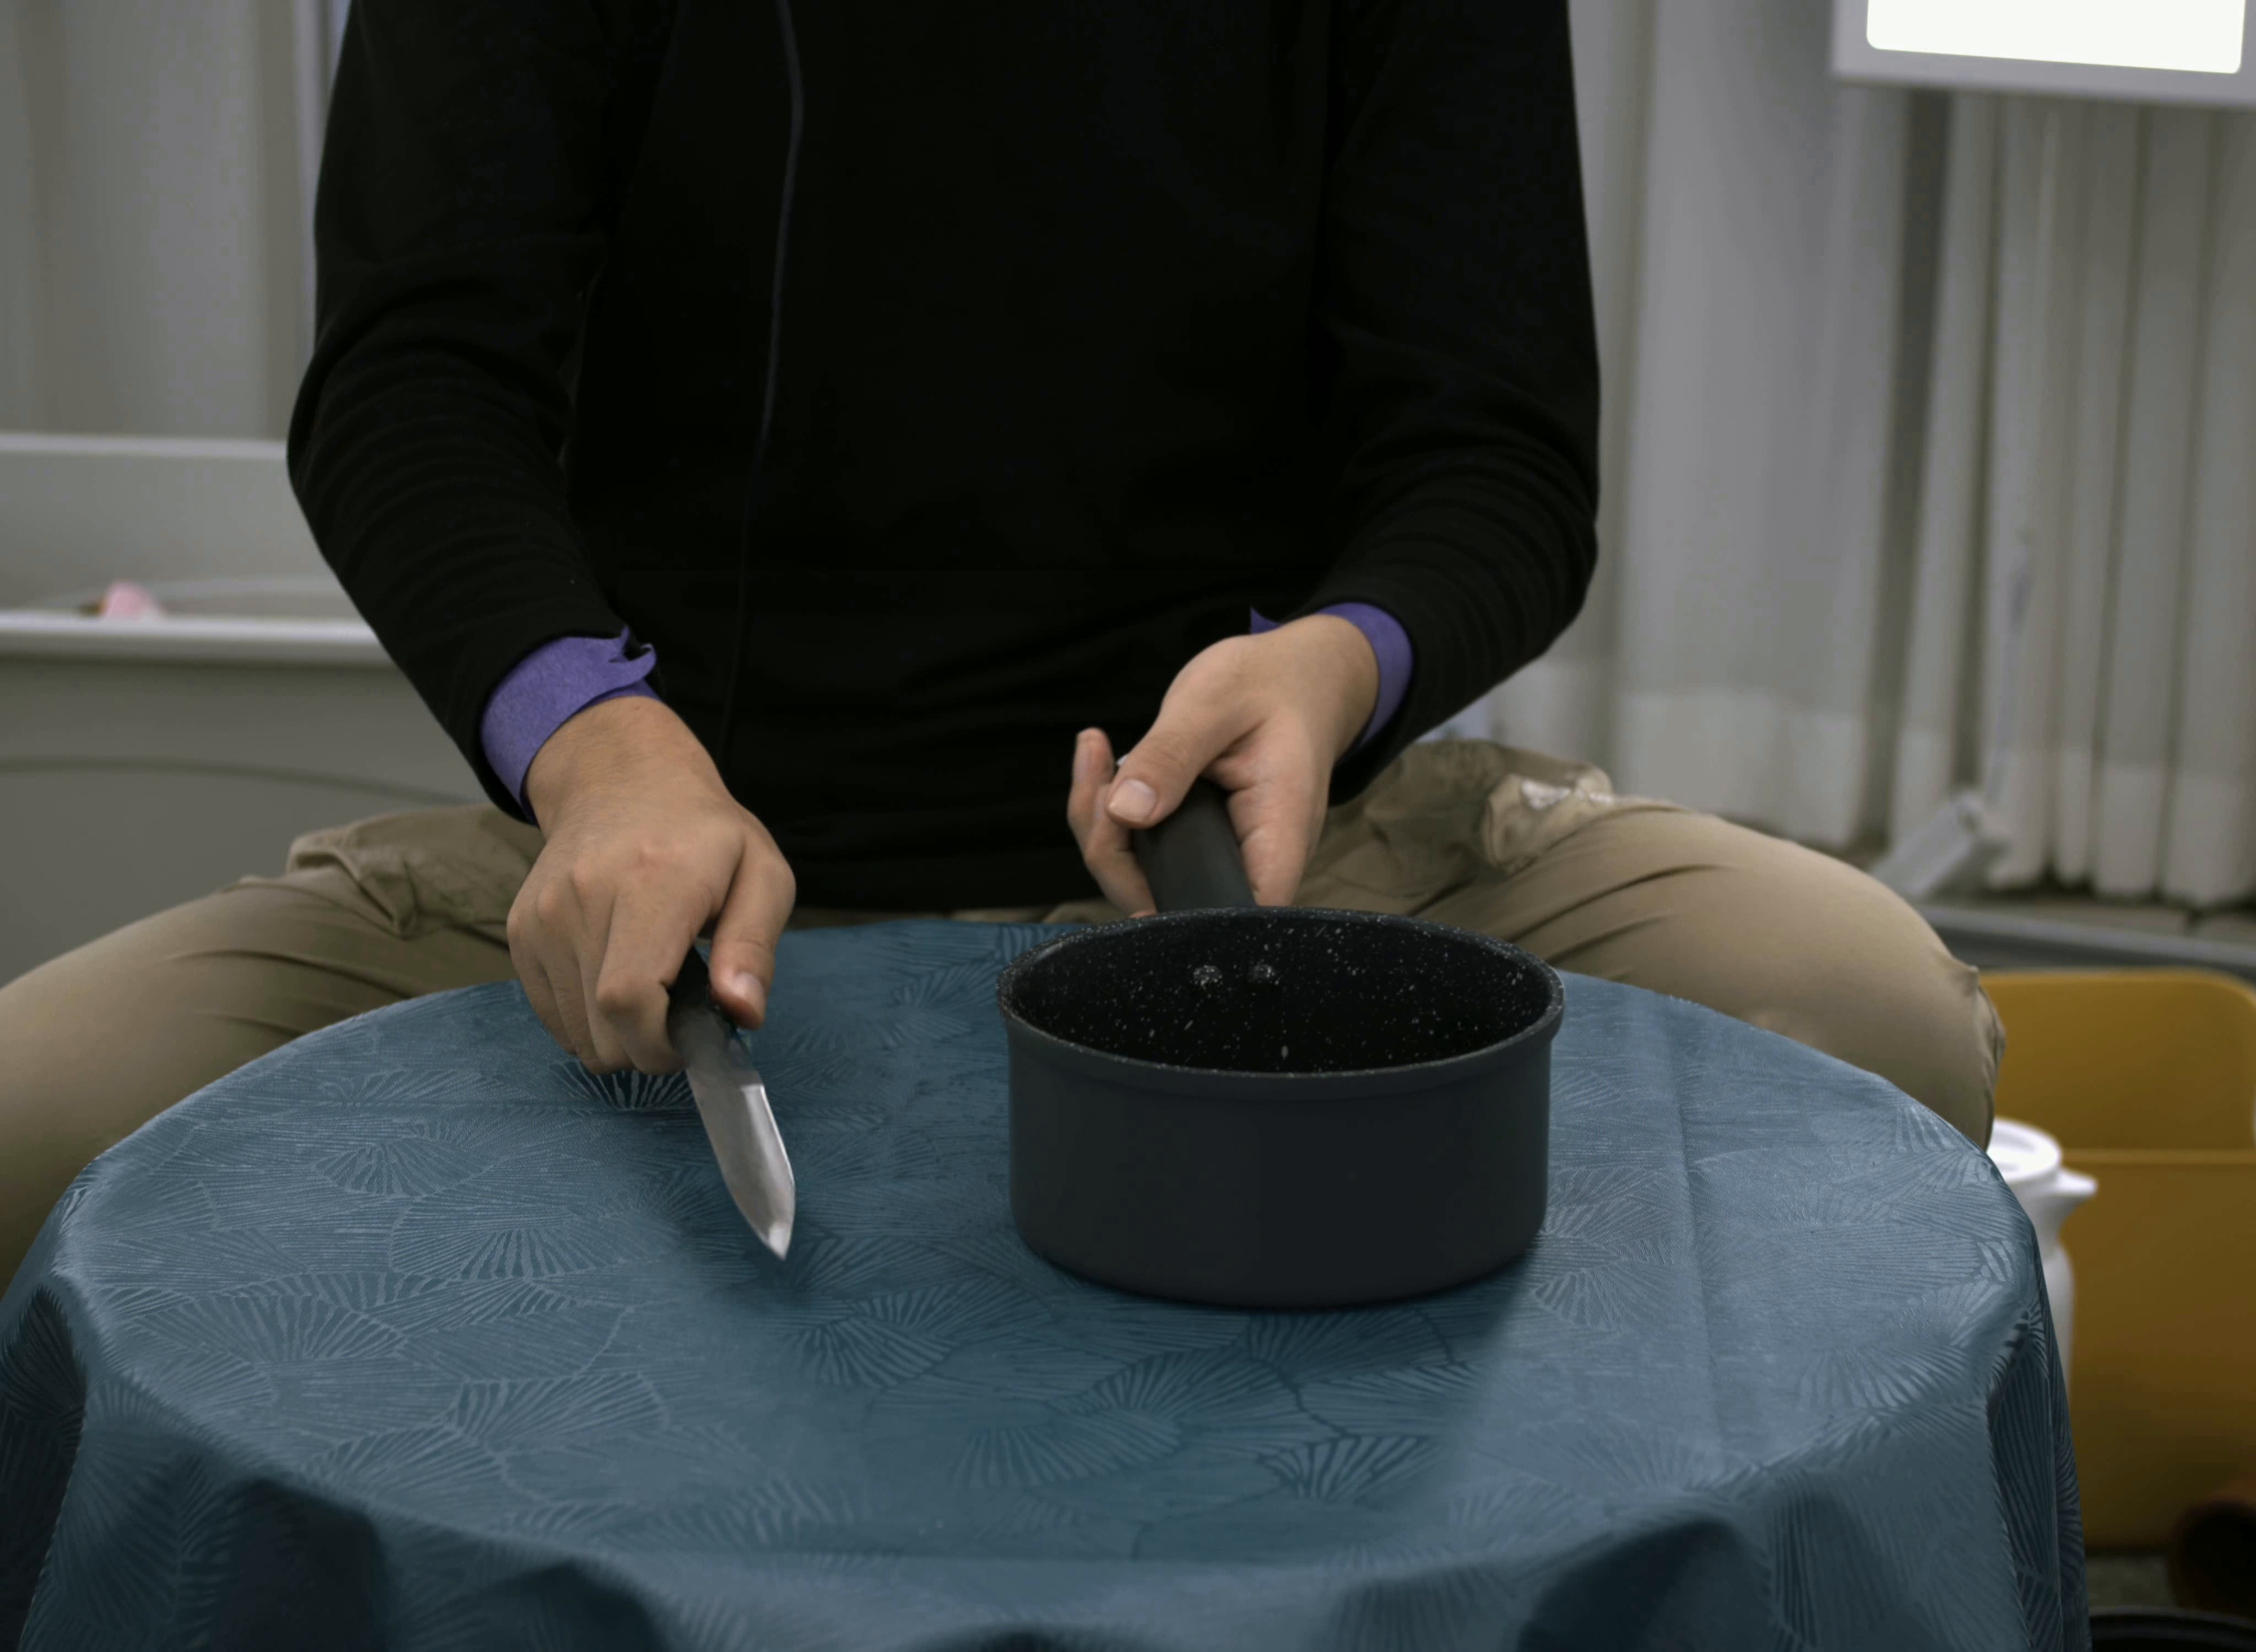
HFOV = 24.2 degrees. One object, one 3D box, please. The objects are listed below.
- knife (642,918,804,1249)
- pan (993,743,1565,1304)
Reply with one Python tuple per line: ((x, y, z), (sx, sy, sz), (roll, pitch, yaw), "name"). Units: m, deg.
((-0.125, 0.078, 1.616), (0.024, 0.016, 0.235), (1, 21, -14), "knife")
((0.038, 0.058, 1.659), (0.172, 0.087, 0.326), (-1, 17, -5), "pan")
